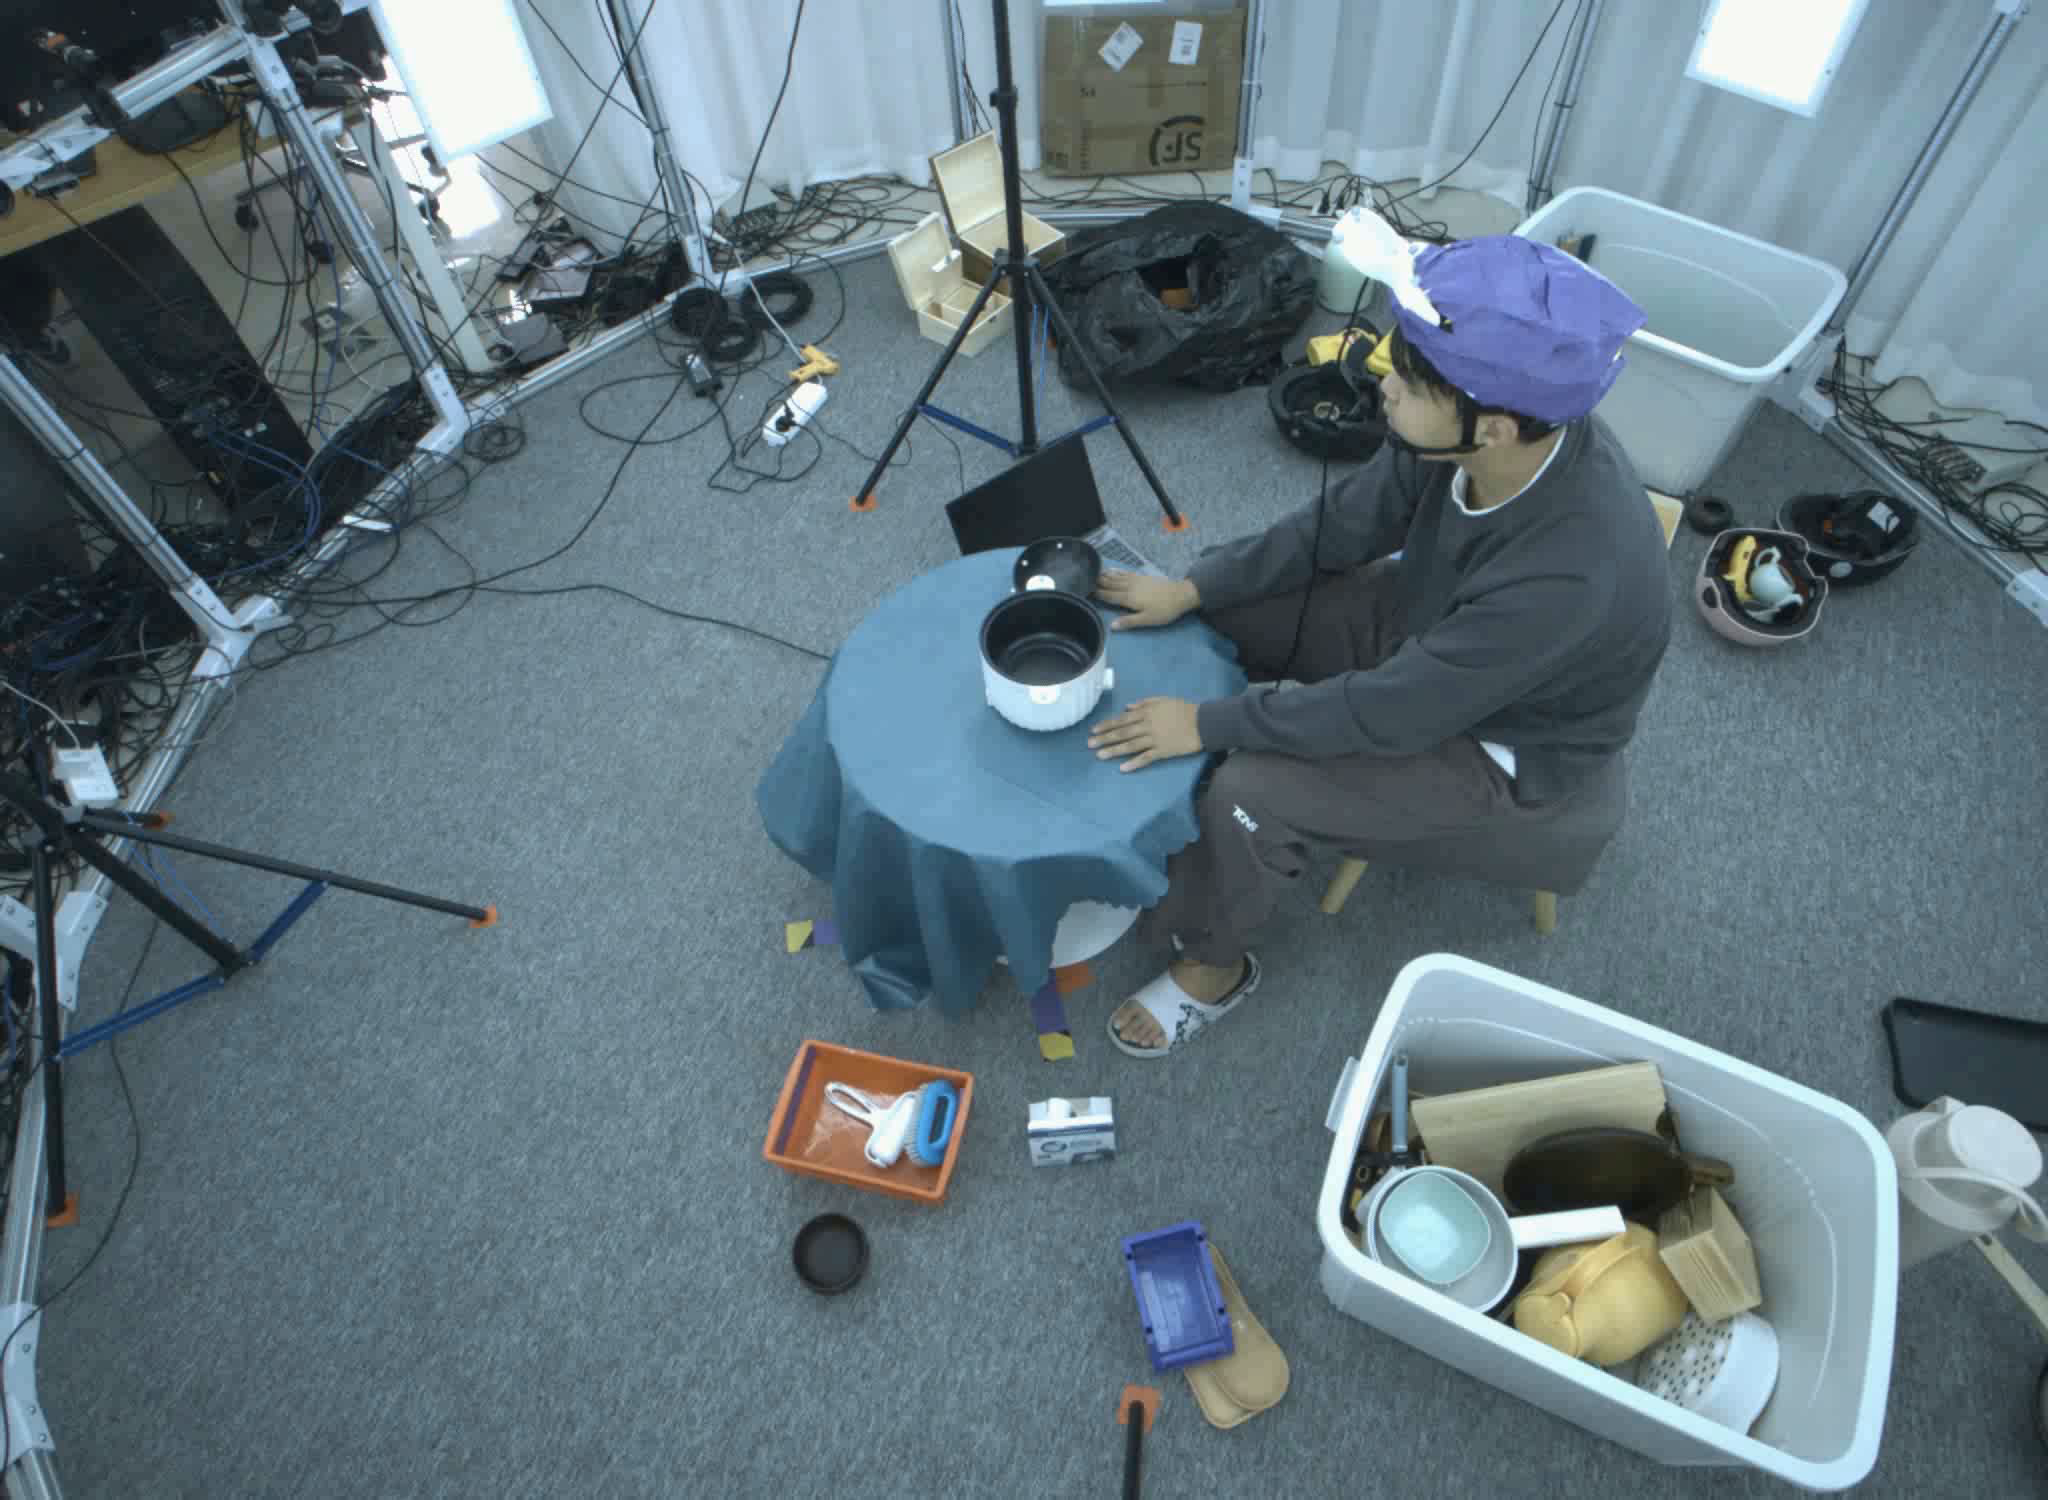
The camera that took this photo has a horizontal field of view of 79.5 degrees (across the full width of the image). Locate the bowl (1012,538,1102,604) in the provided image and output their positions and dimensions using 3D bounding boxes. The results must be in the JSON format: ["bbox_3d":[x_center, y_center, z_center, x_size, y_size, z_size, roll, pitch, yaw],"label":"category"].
[{"bbox_3d":[0.053,-0.264,1.934,0.136,0.067,0.170,14,55,11],"label":"bowl"}]

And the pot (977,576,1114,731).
[{"bbox_3d":[0.033,-0.126,1.791,0.190,0.144,0.237,-5,56,2],"label":"pot"}]
